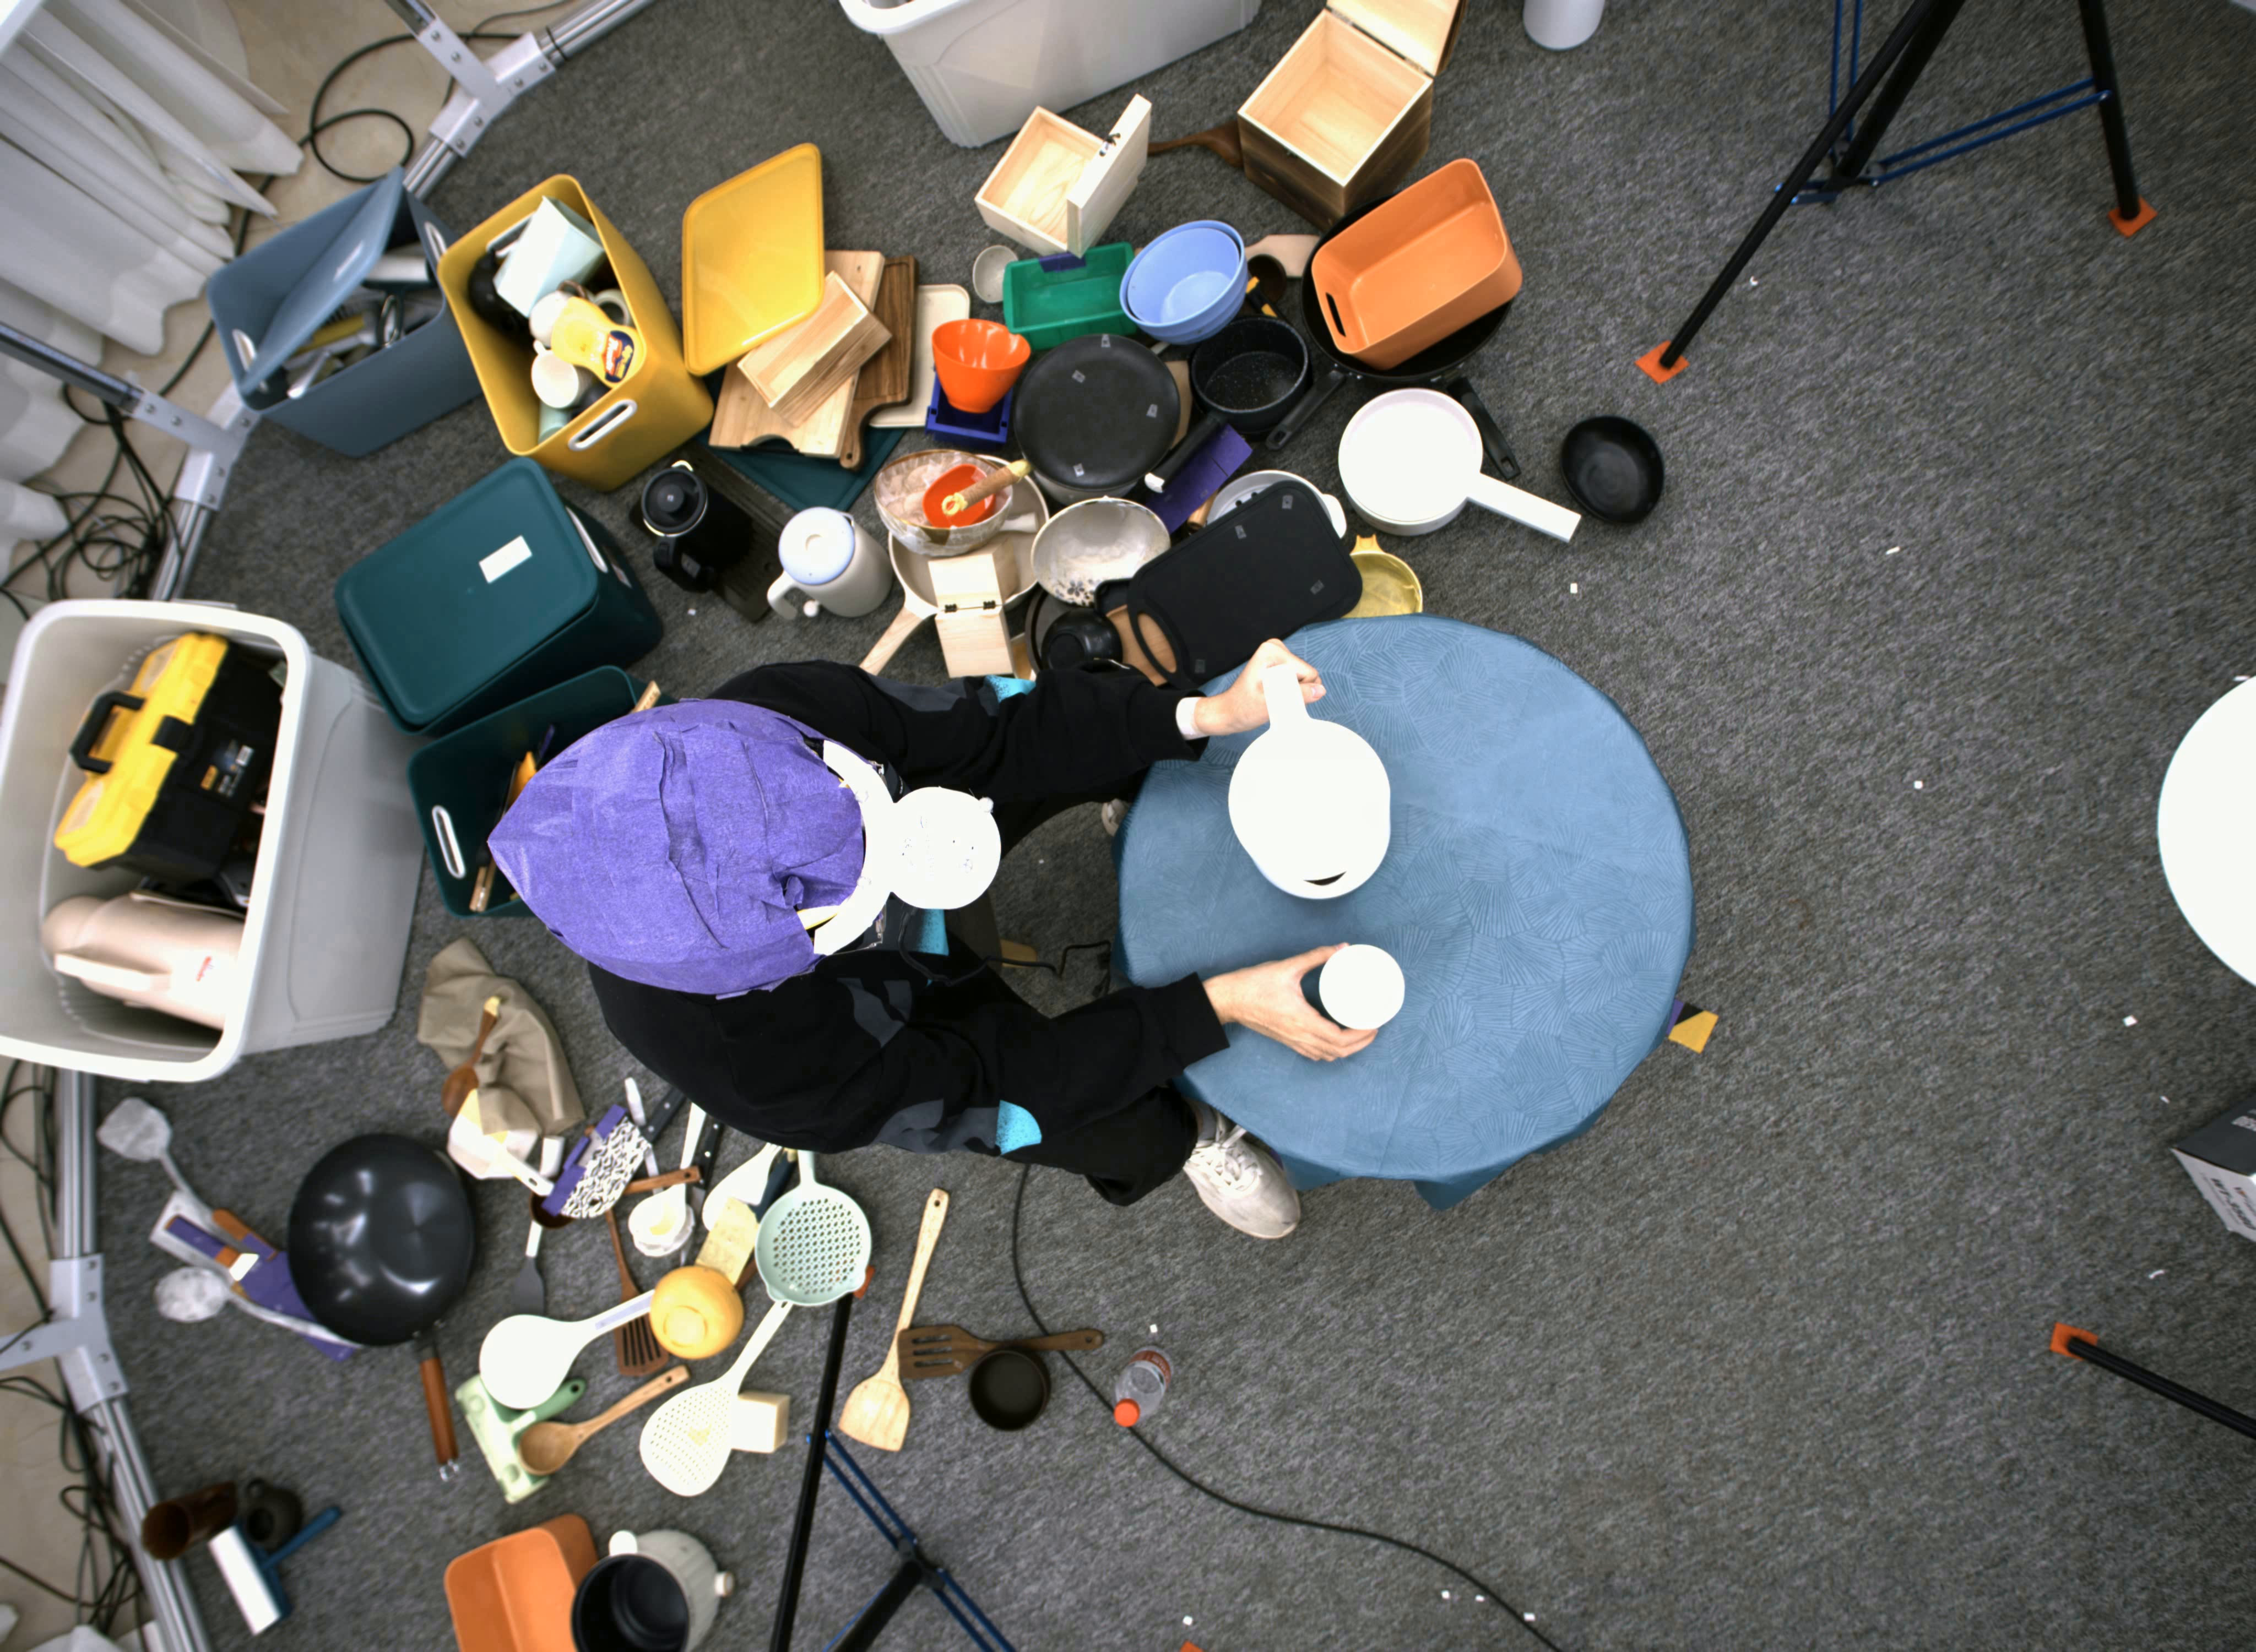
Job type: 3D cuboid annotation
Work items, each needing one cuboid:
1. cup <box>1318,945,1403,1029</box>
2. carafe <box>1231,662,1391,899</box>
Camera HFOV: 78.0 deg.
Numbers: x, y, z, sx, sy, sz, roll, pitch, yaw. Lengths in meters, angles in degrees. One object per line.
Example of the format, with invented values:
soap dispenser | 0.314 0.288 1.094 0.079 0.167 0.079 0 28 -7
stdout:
cup | 0.235 0.160 1.395 0.082 0.125 0.081 -1 85 10
carafe | 0.175 -0.039 1.332 0.153 0.240 0.212 -12 84 7
